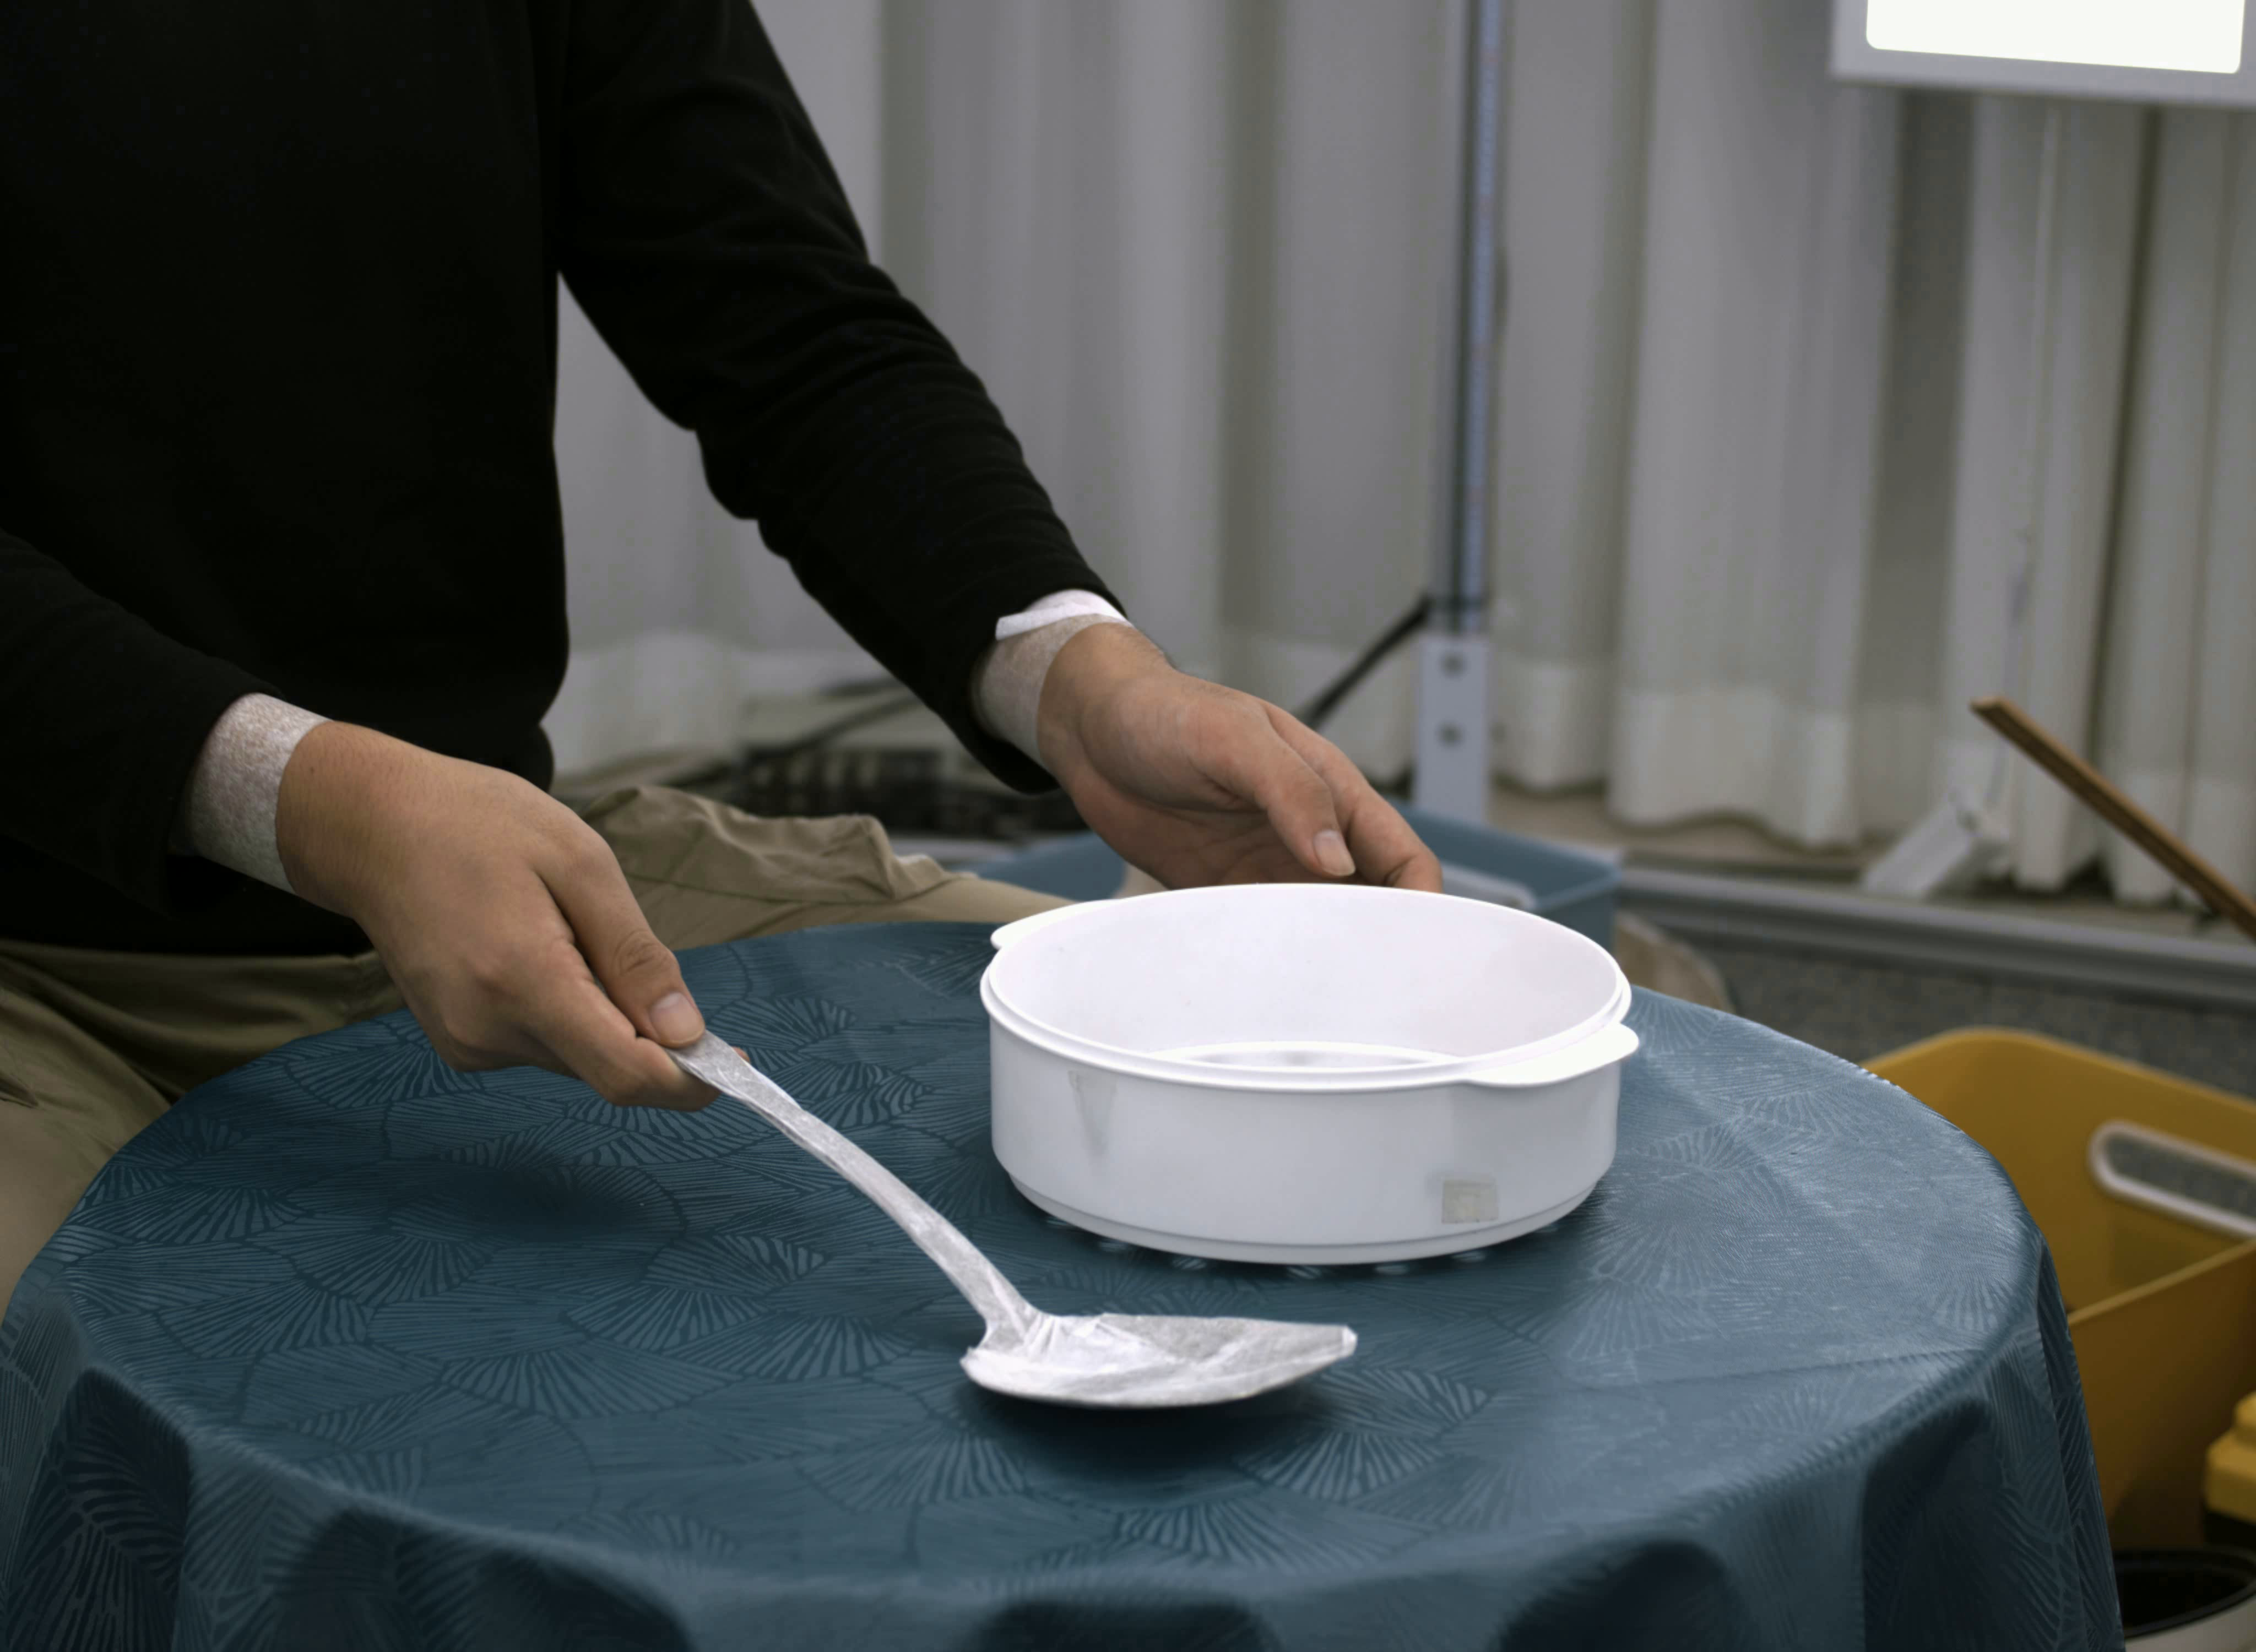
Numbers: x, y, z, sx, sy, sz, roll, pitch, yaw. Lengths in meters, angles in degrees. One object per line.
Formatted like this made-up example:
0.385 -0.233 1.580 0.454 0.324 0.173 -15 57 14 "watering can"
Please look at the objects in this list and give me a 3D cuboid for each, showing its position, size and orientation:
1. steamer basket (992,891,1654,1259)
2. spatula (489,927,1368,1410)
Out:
0.058 0.076 1.621 0.227 0.070 0.203 13 19 41 "steamer basket"
-0.081 0.092 1.530 0.099 0.045 0.360 -13 34 -42 "spatula"
